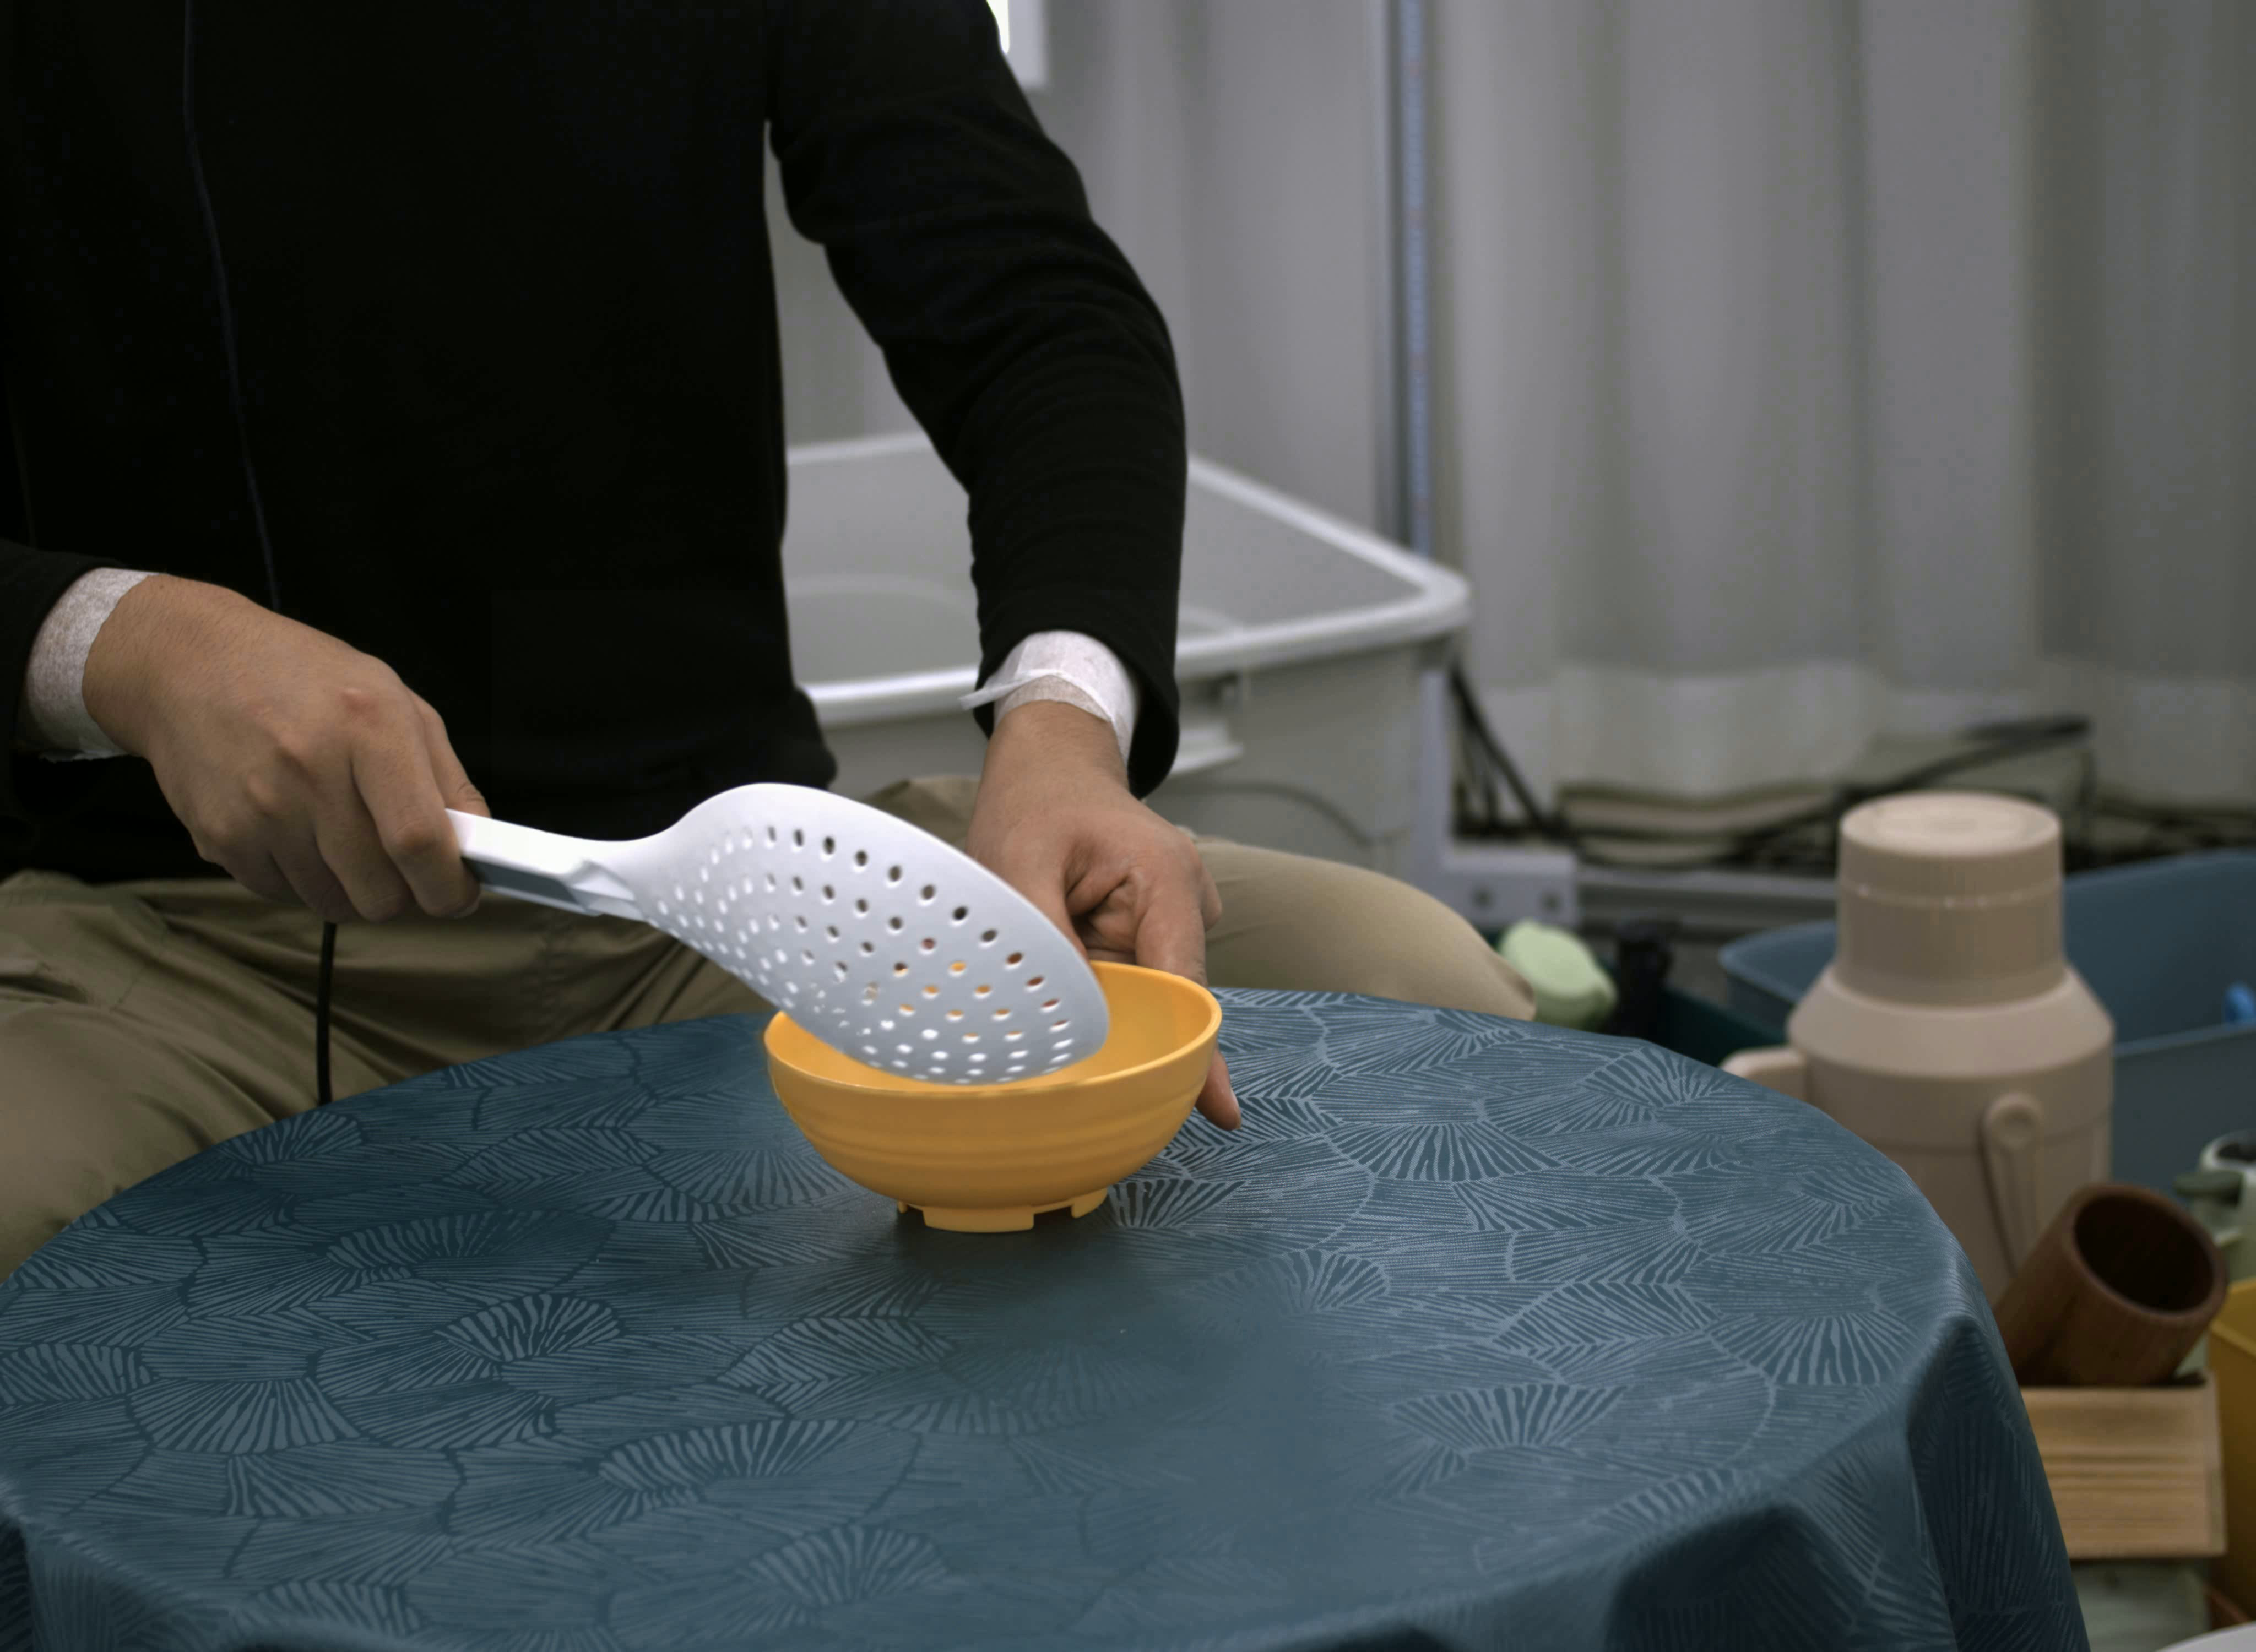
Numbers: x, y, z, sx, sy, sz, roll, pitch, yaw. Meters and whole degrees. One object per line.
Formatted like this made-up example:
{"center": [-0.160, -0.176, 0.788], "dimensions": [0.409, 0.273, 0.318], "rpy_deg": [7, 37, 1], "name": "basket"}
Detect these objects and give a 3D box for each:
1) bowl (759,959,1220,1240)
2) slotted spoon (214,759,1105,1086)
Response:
{"center": [-0.043, 0.090, 1.707], "dimensions": [0.145, 0.060, 0.146], "rpy_deg": [-1, 16, 0], "name": "bowl"}
{"center": [-0.155, 0.017, 1.678], "dimensions": [0.352, 0.134, 0.046], "rpy_deg": [17, 61, 39], "name": "slotted spoon"}
